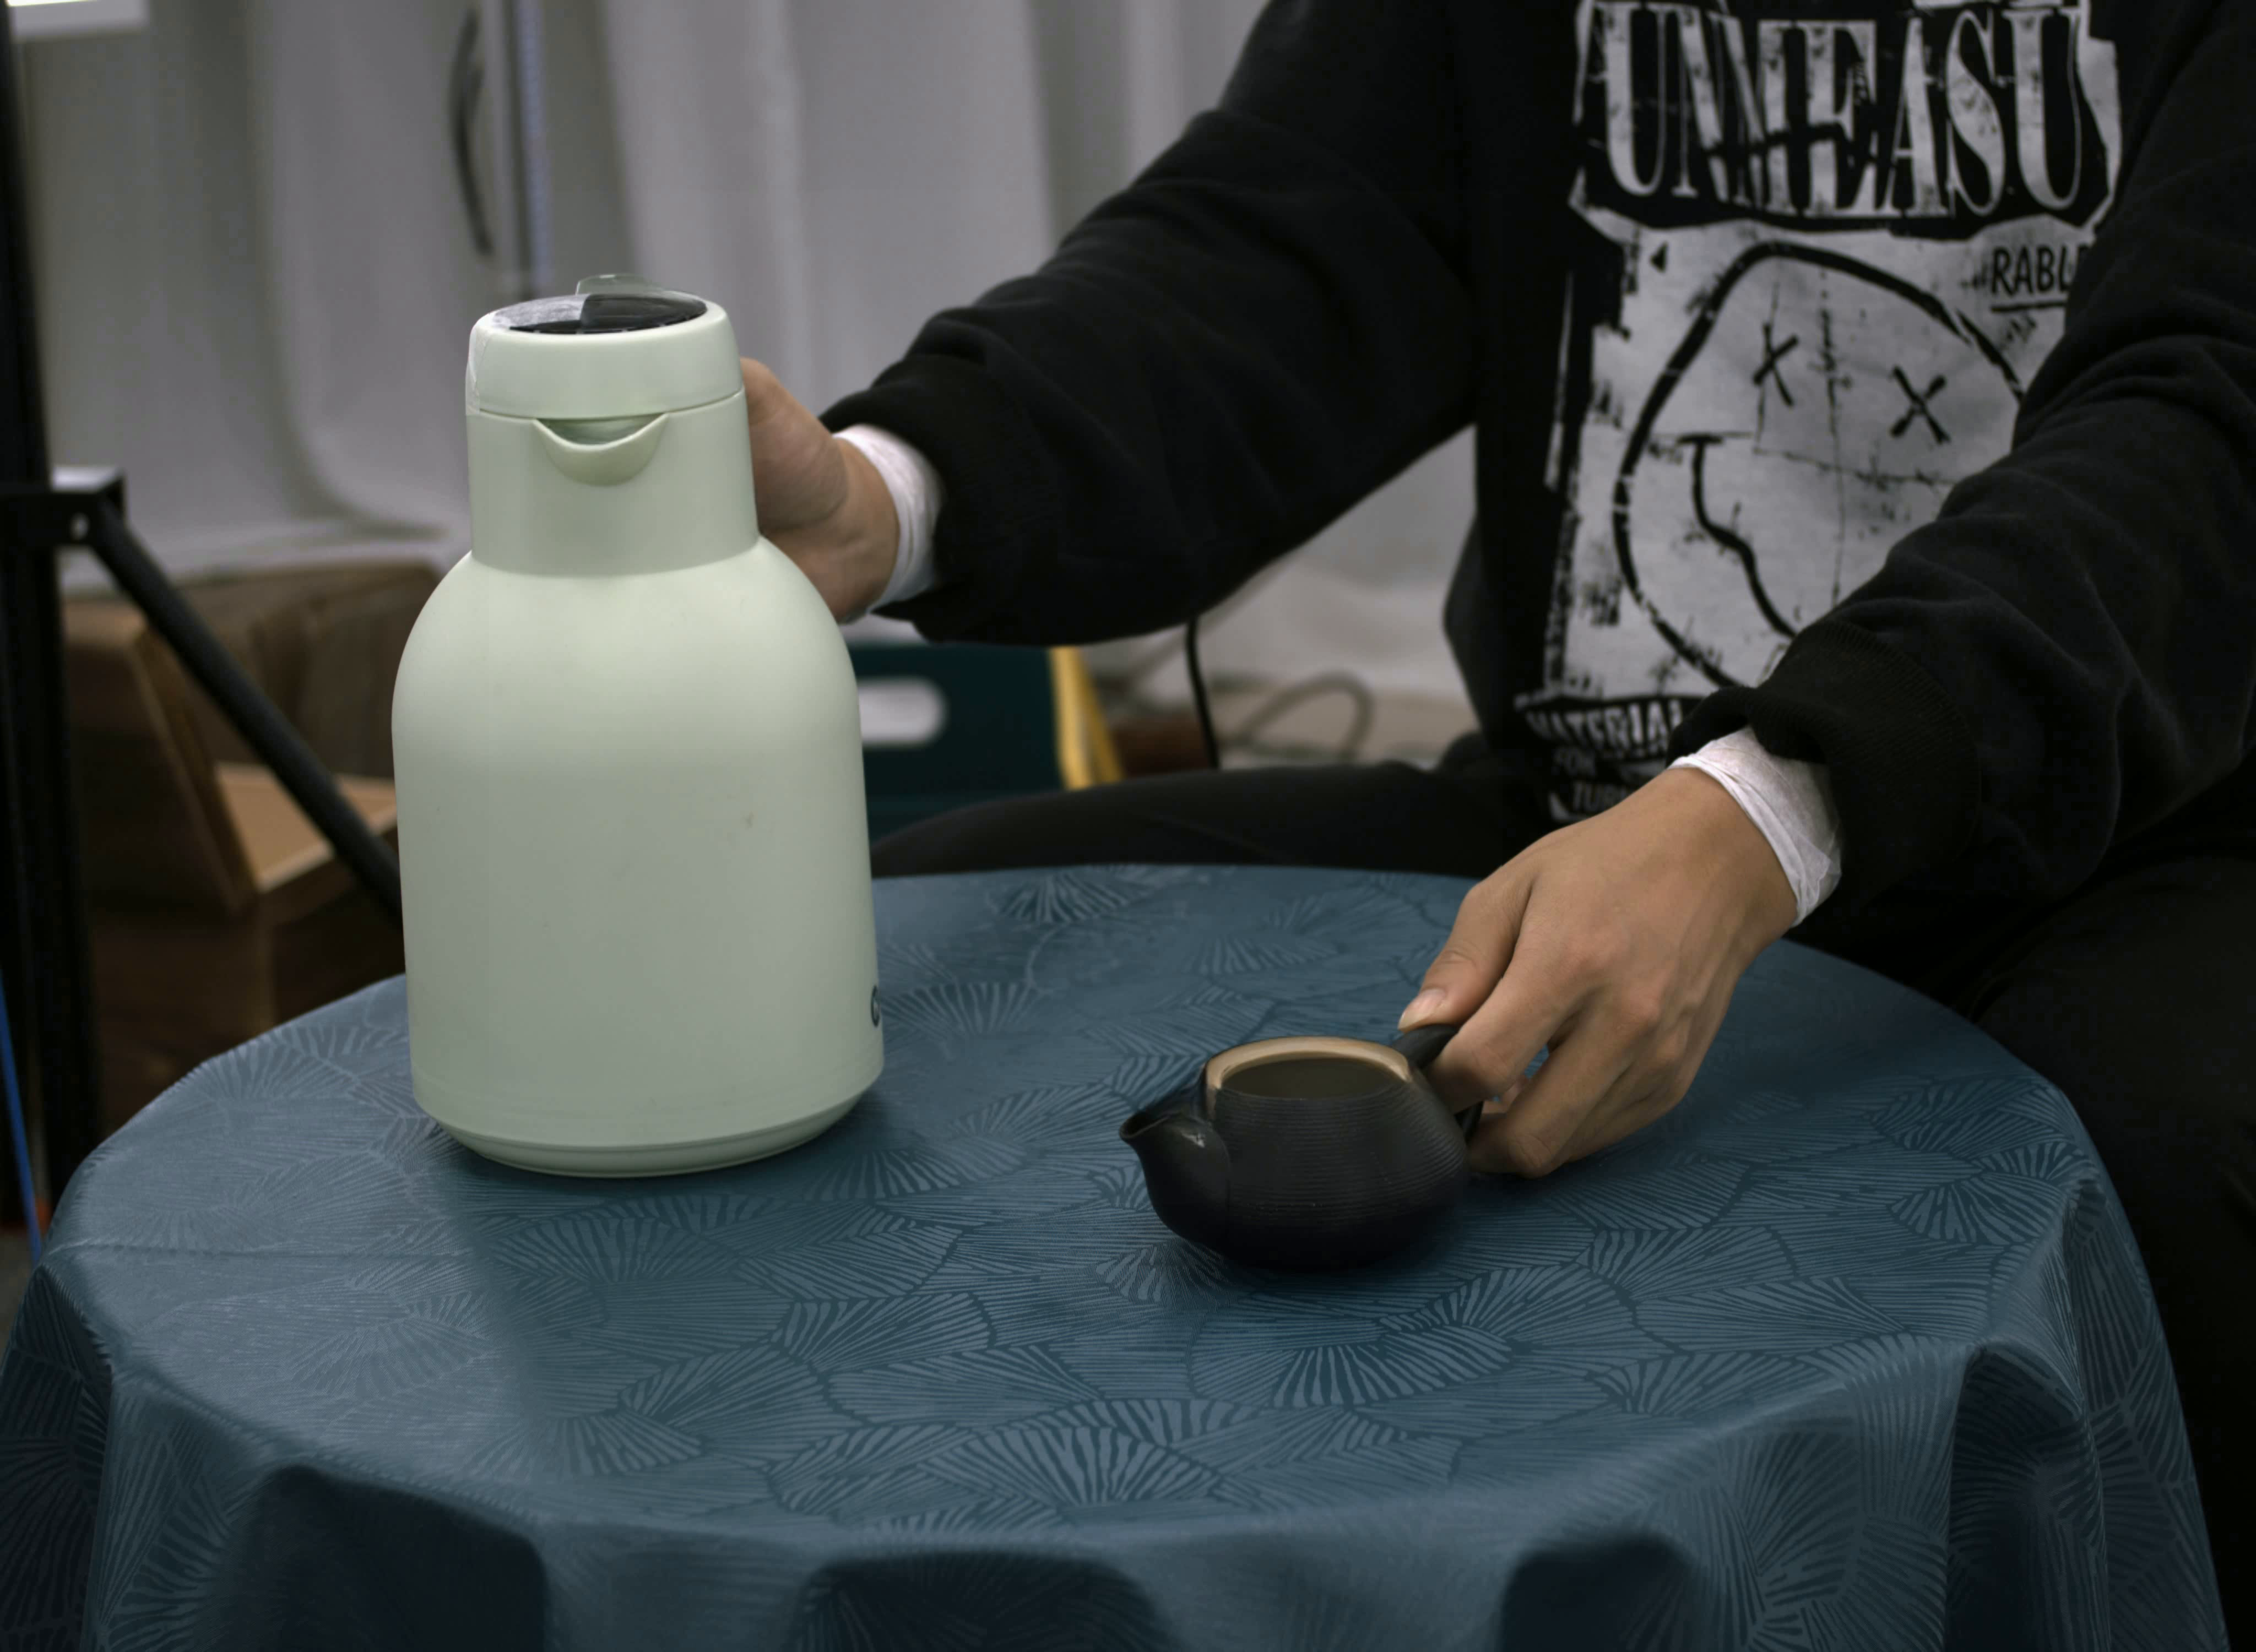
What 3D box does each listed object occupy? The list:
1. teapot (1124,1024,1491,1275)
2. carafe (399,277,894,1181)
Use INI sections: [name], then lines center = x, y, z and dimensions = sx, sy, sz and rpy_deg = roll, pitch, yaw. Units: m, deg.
[teapot]
center = 0.053, 0.093, 1.500
dimensions = 0.130, 0.053, 0.093
rpy_deg = -15, 22, -35
[carafe]
center = -0.151, -0.034, 1.626
dimensions = 0.143, 0.257, 0.188
rpy_deg = -4, 11, -2
